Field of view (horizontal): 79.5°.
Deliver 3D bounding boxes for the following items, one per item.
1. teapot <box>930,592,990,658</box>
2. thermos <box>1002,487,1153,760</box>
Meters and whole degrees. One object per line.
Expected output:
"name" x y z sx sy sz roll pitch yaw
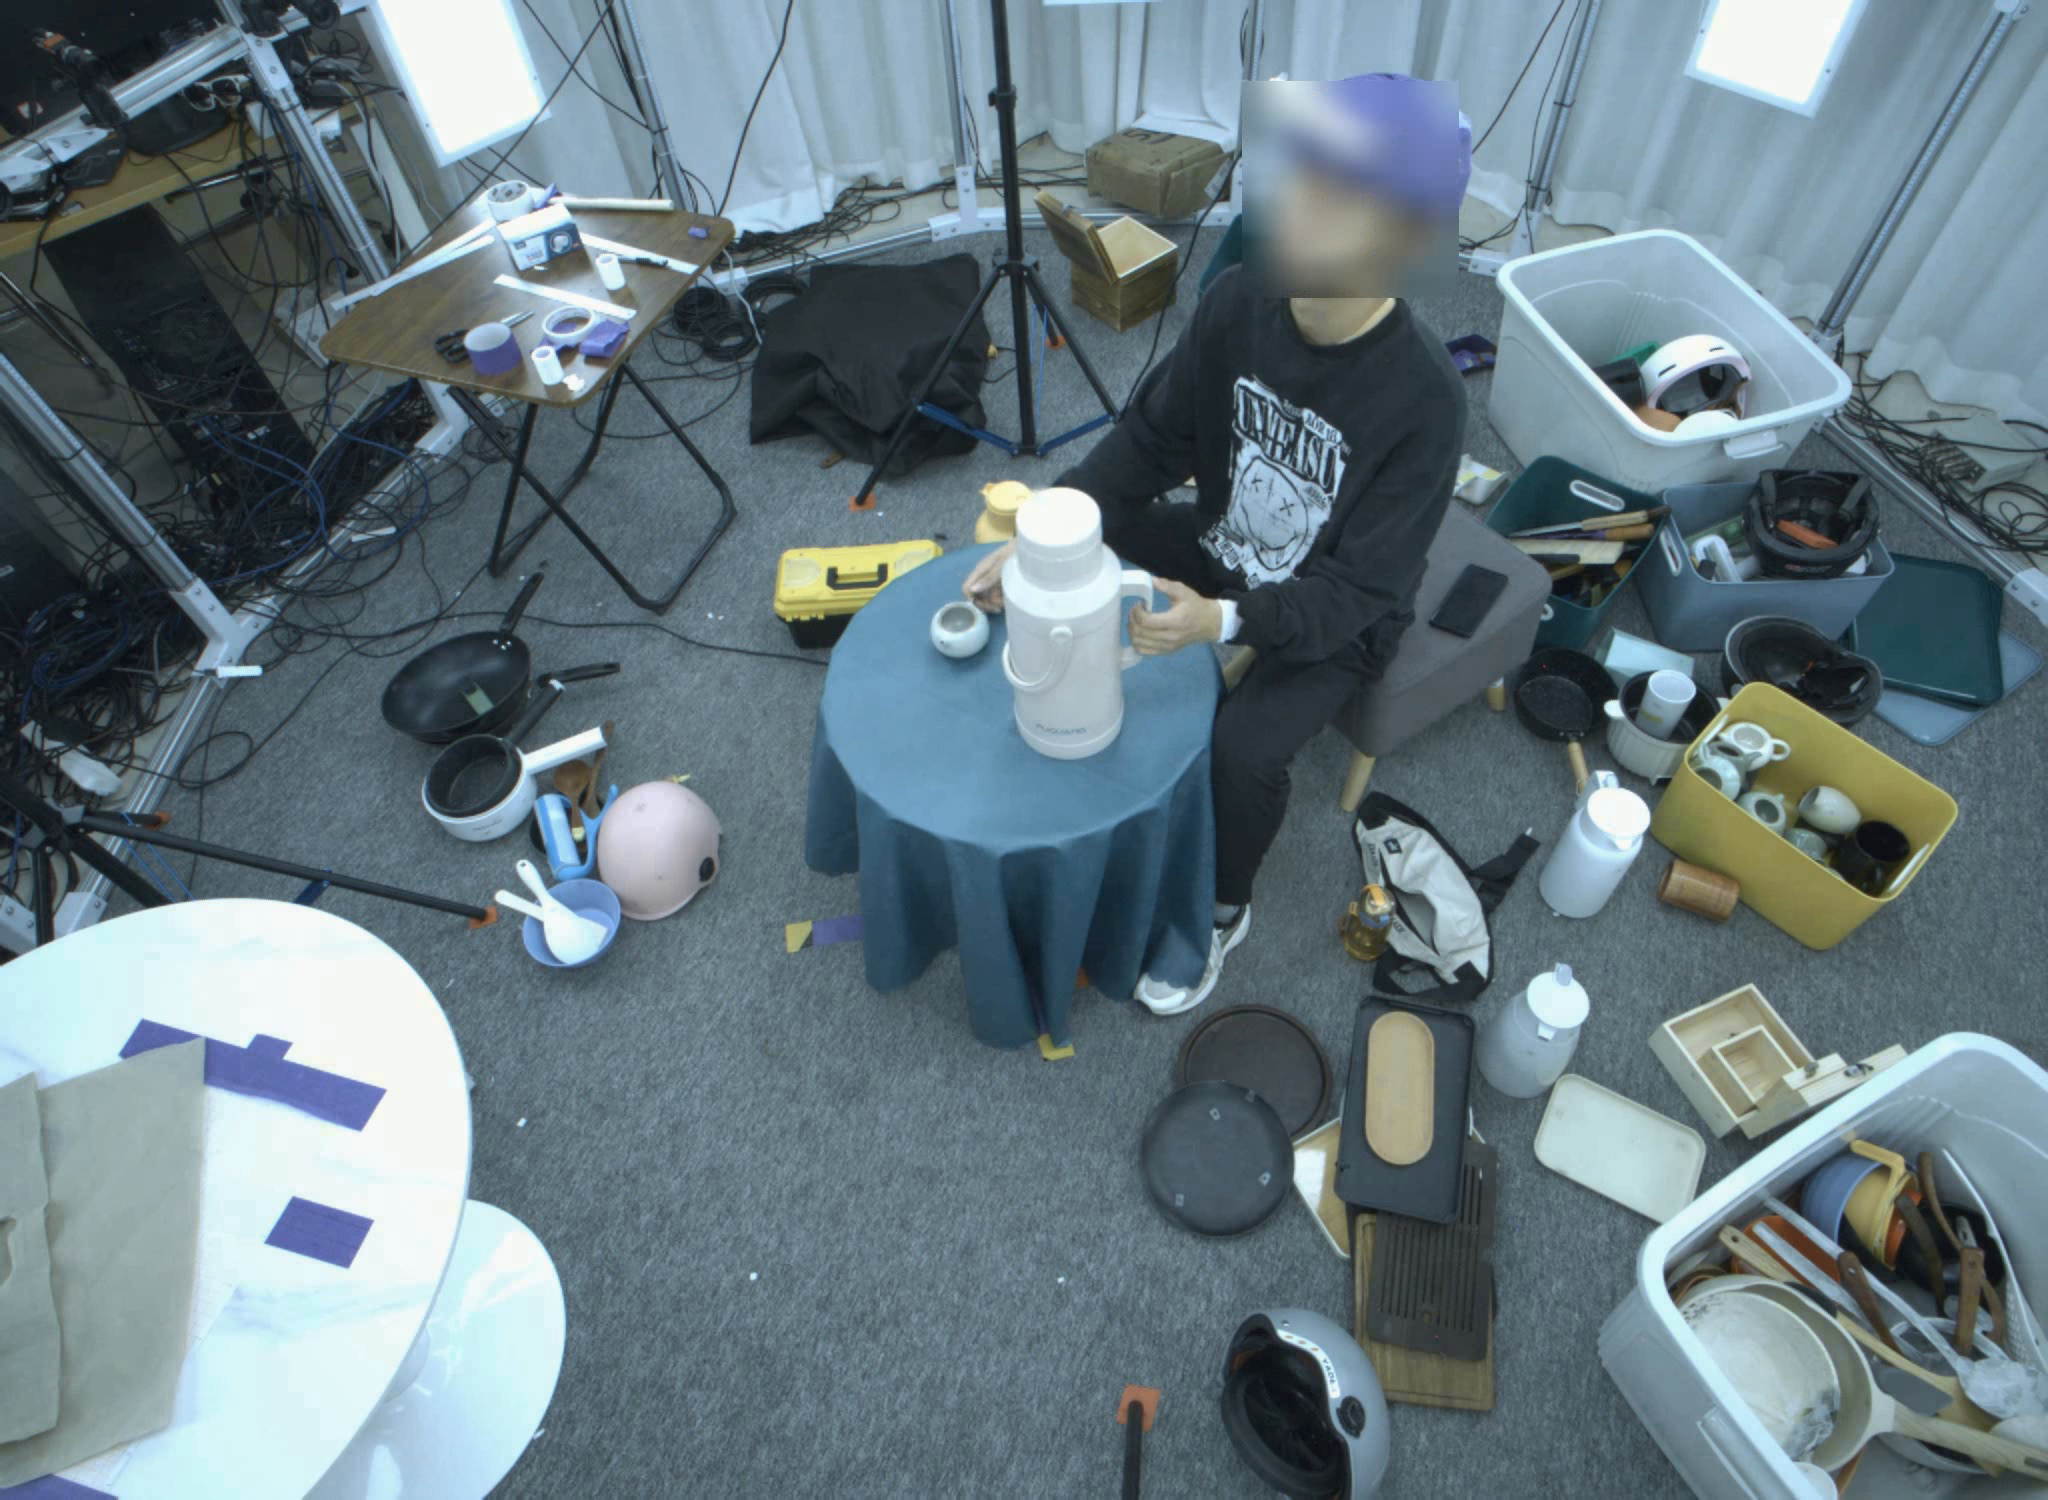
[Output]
"teapot" -0.095 -0.191 1.887 0.090 0.060 0.128 17 58 17
"thermos" 0.069 -0.165 1.654 0.207 0.411 0.173 -2 53 3
